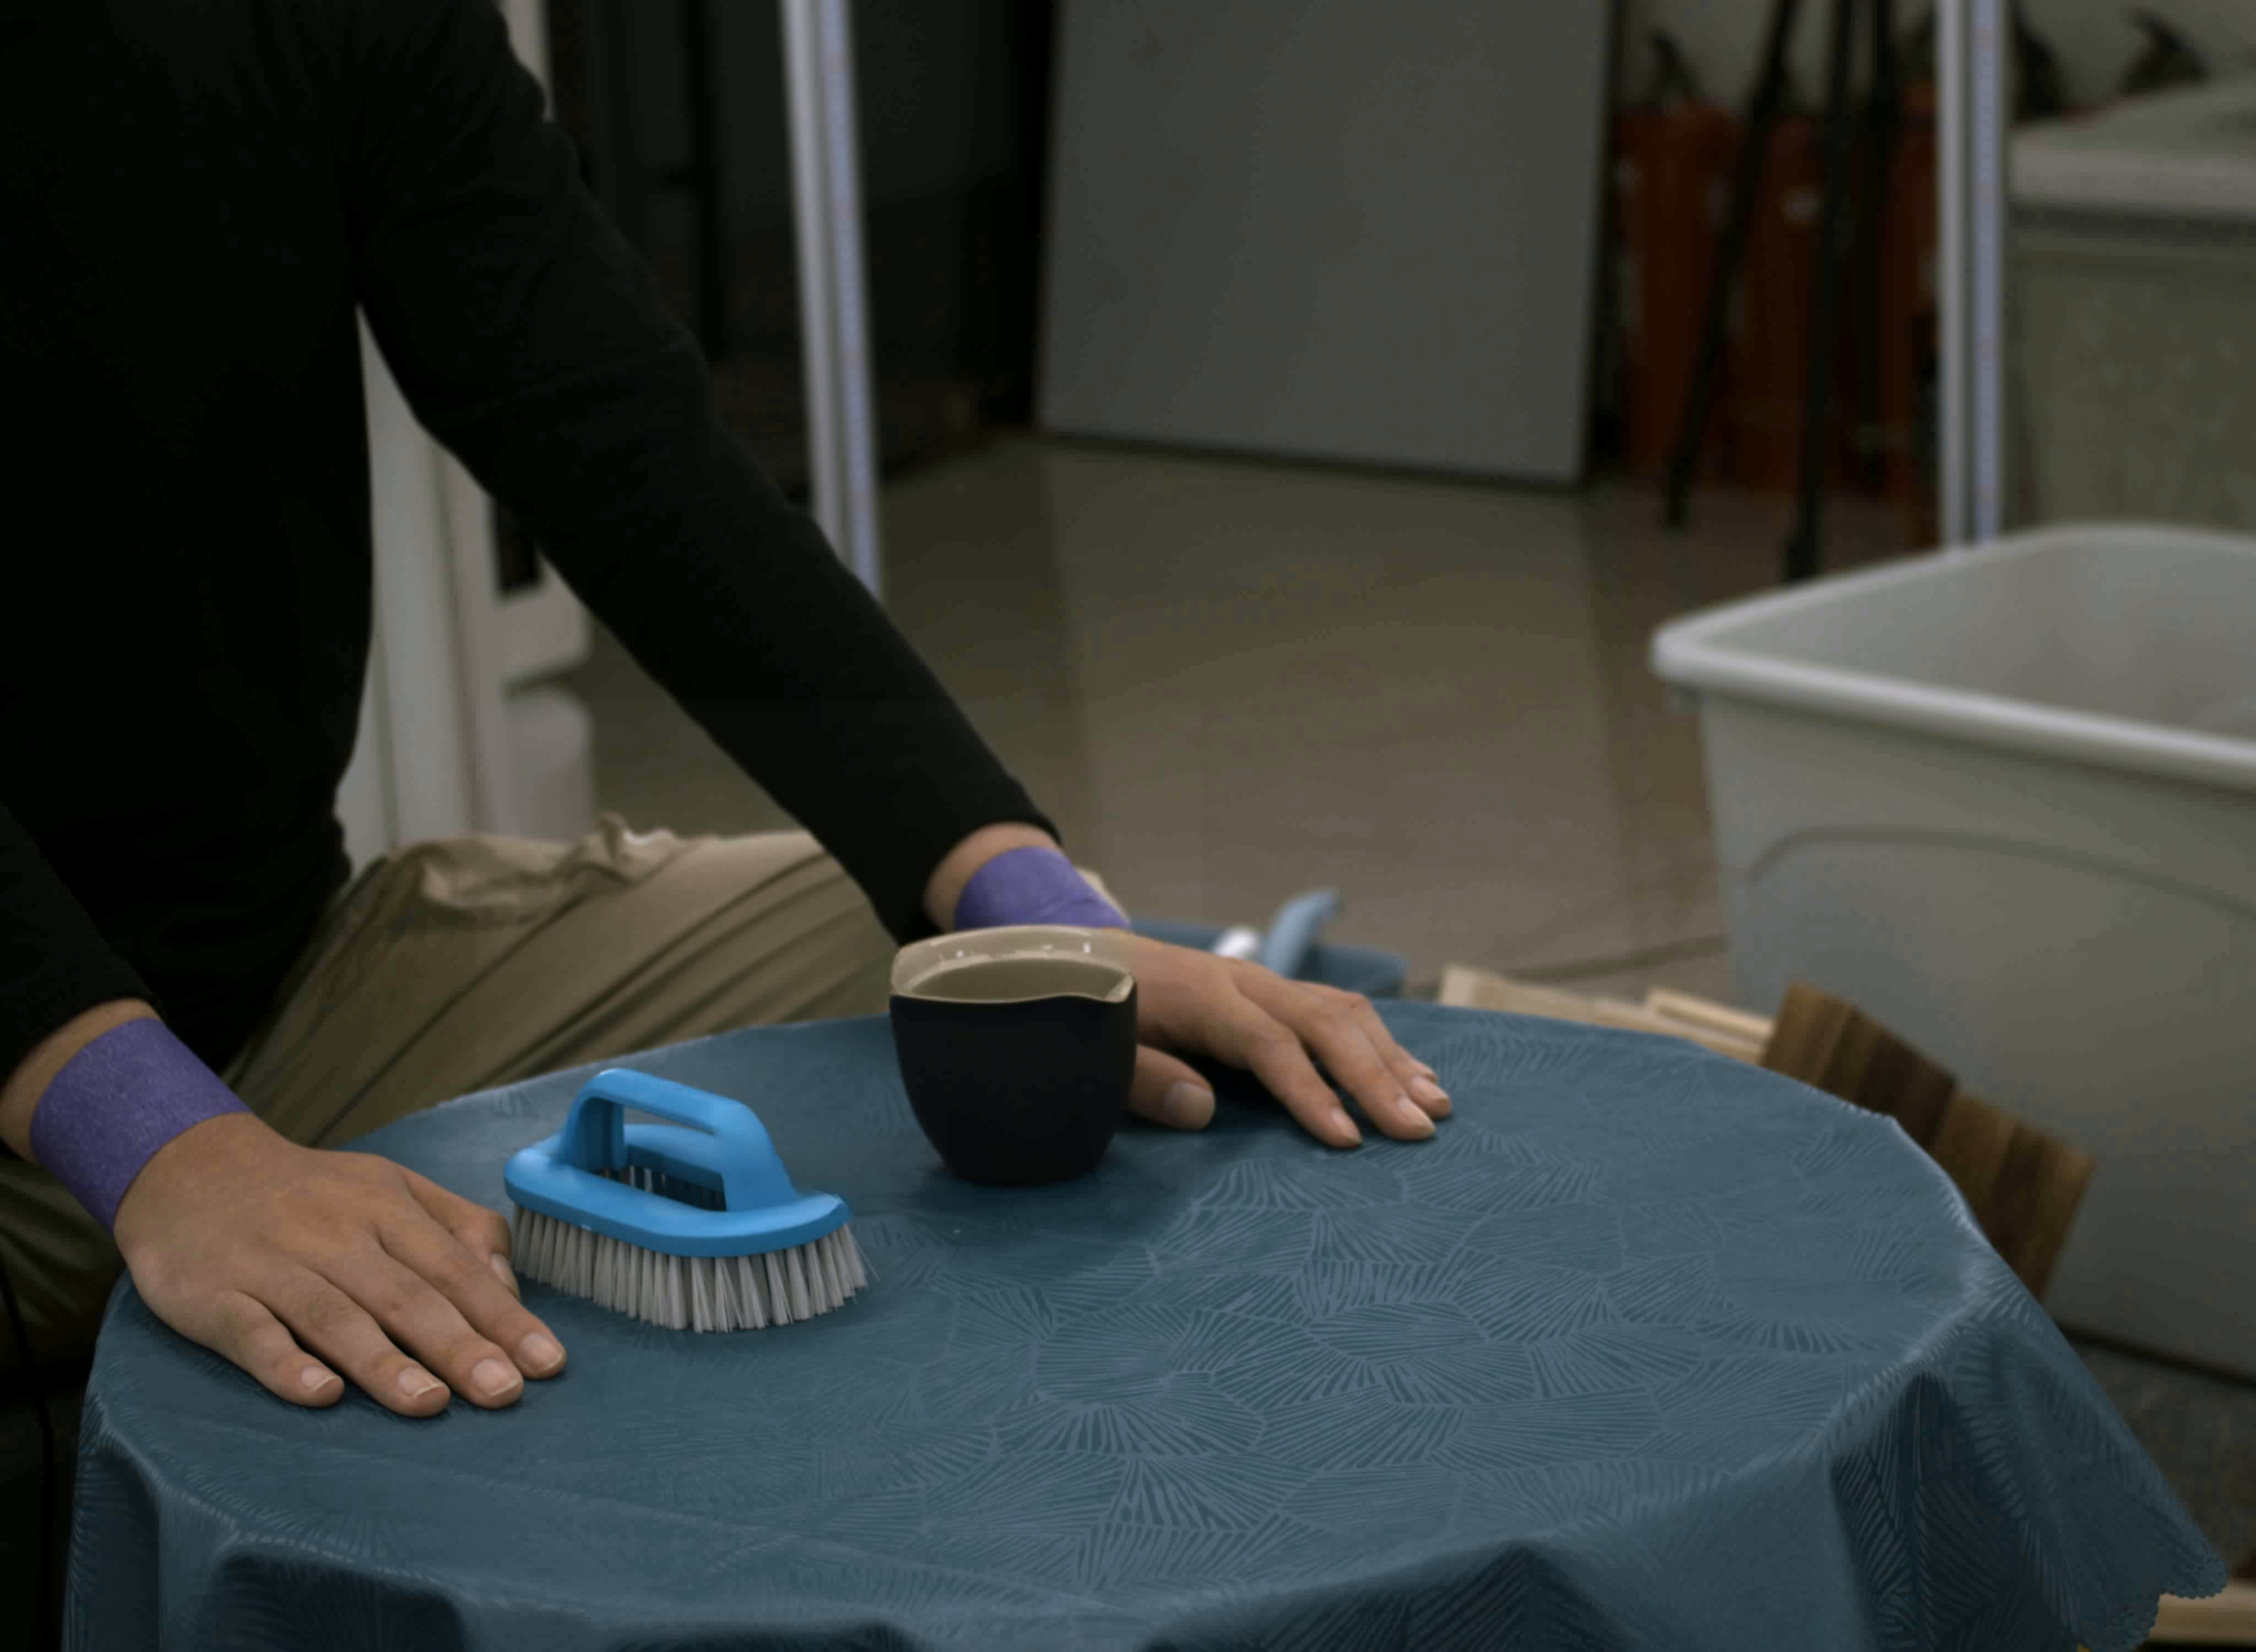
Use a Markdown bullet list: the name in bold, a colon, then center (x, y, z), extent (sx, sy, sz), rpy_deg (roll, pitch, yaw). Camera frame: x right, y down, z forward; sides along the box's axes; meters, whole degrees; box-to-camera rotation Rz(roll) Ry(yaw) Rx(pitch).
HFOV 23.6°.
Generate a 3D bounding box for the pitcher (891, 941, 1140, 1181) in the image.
- **pitcher**: center (-0.034, 0.078, 1.797), extent (0.082, 0.072, 0.097), rpy_deg (-11, 17, -33)

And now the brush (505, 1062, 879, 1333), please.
- **brush**: center (-0.142, 0.110, 1.713), extent (0.082, 0.064, 0.143), rpy_deg (-19, 19, -36)
